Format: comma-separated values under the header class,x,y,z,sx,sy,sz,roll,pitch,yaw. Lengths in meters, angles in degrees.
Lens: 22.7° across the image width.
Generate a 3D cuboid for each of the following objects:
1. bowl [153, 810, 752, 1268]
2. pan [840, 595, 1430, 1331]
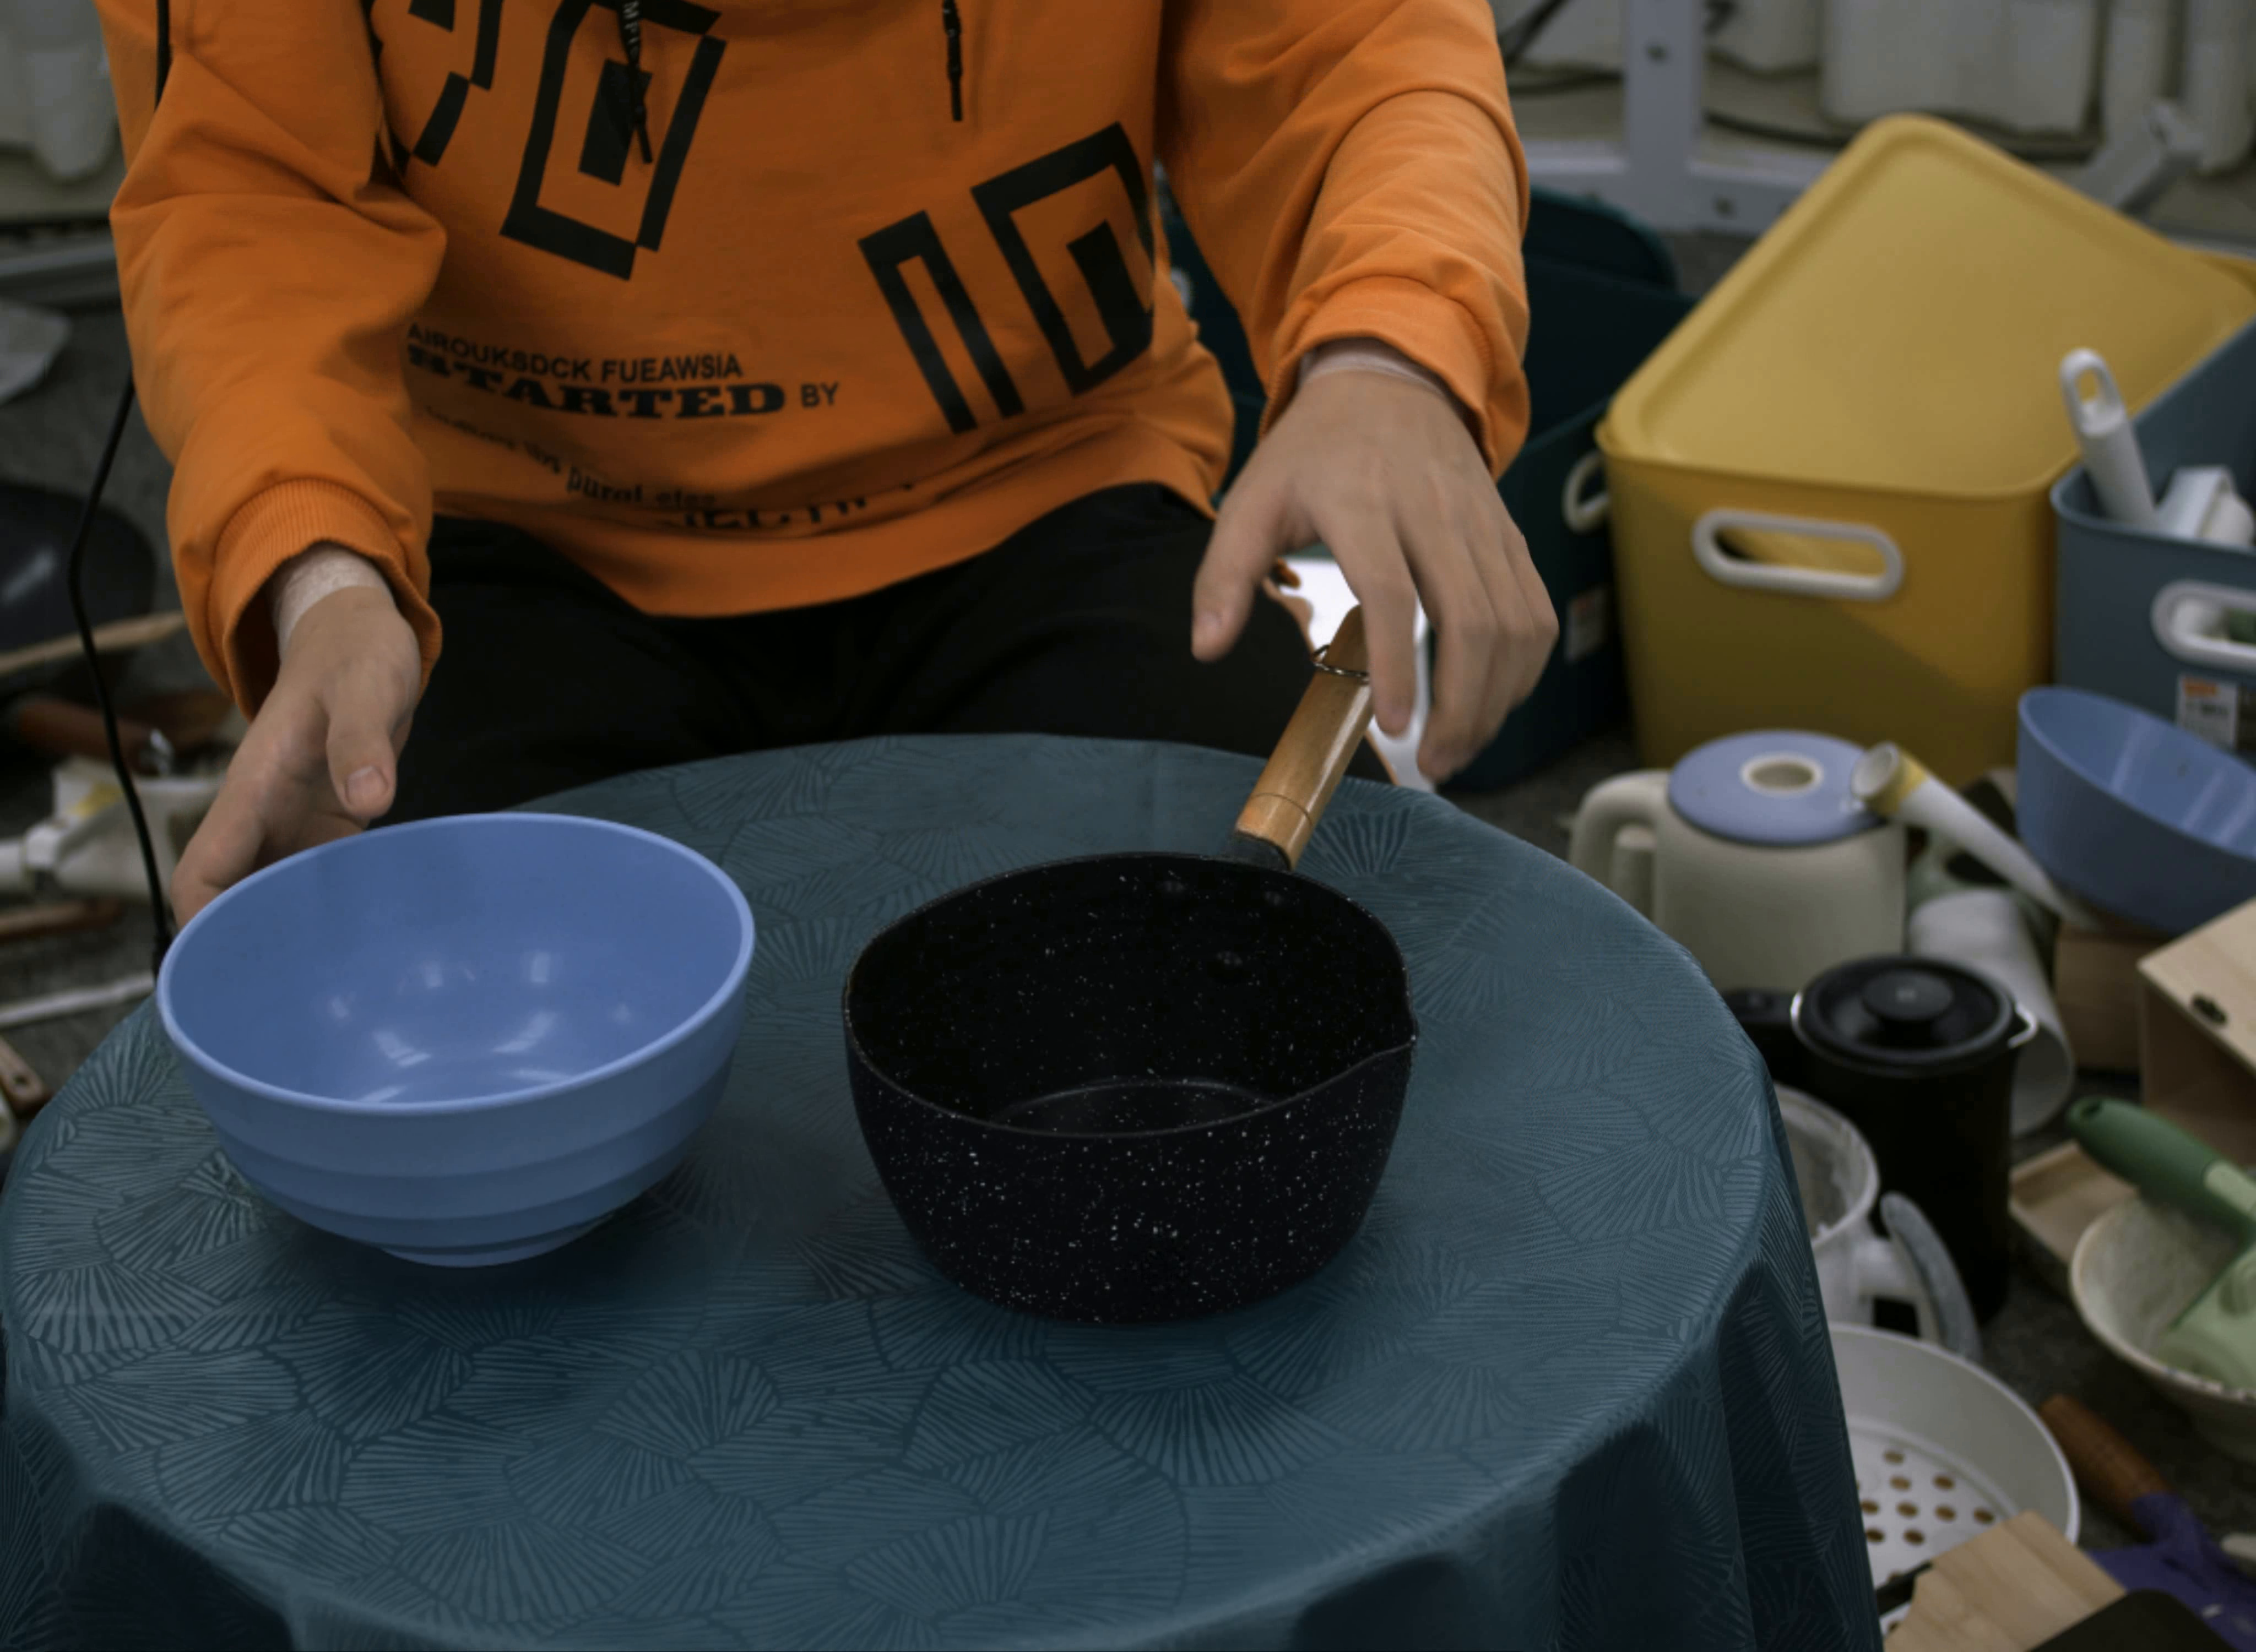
class,x,y,z,sx,sy,sz,roll,pitch,yaw
bowl,-0.217,0.082,1.857,0.195,0.094,0.199,-3,28,2
pan,0.029,0.042,1.896,0.206,0.107,0.349,6,30,20
